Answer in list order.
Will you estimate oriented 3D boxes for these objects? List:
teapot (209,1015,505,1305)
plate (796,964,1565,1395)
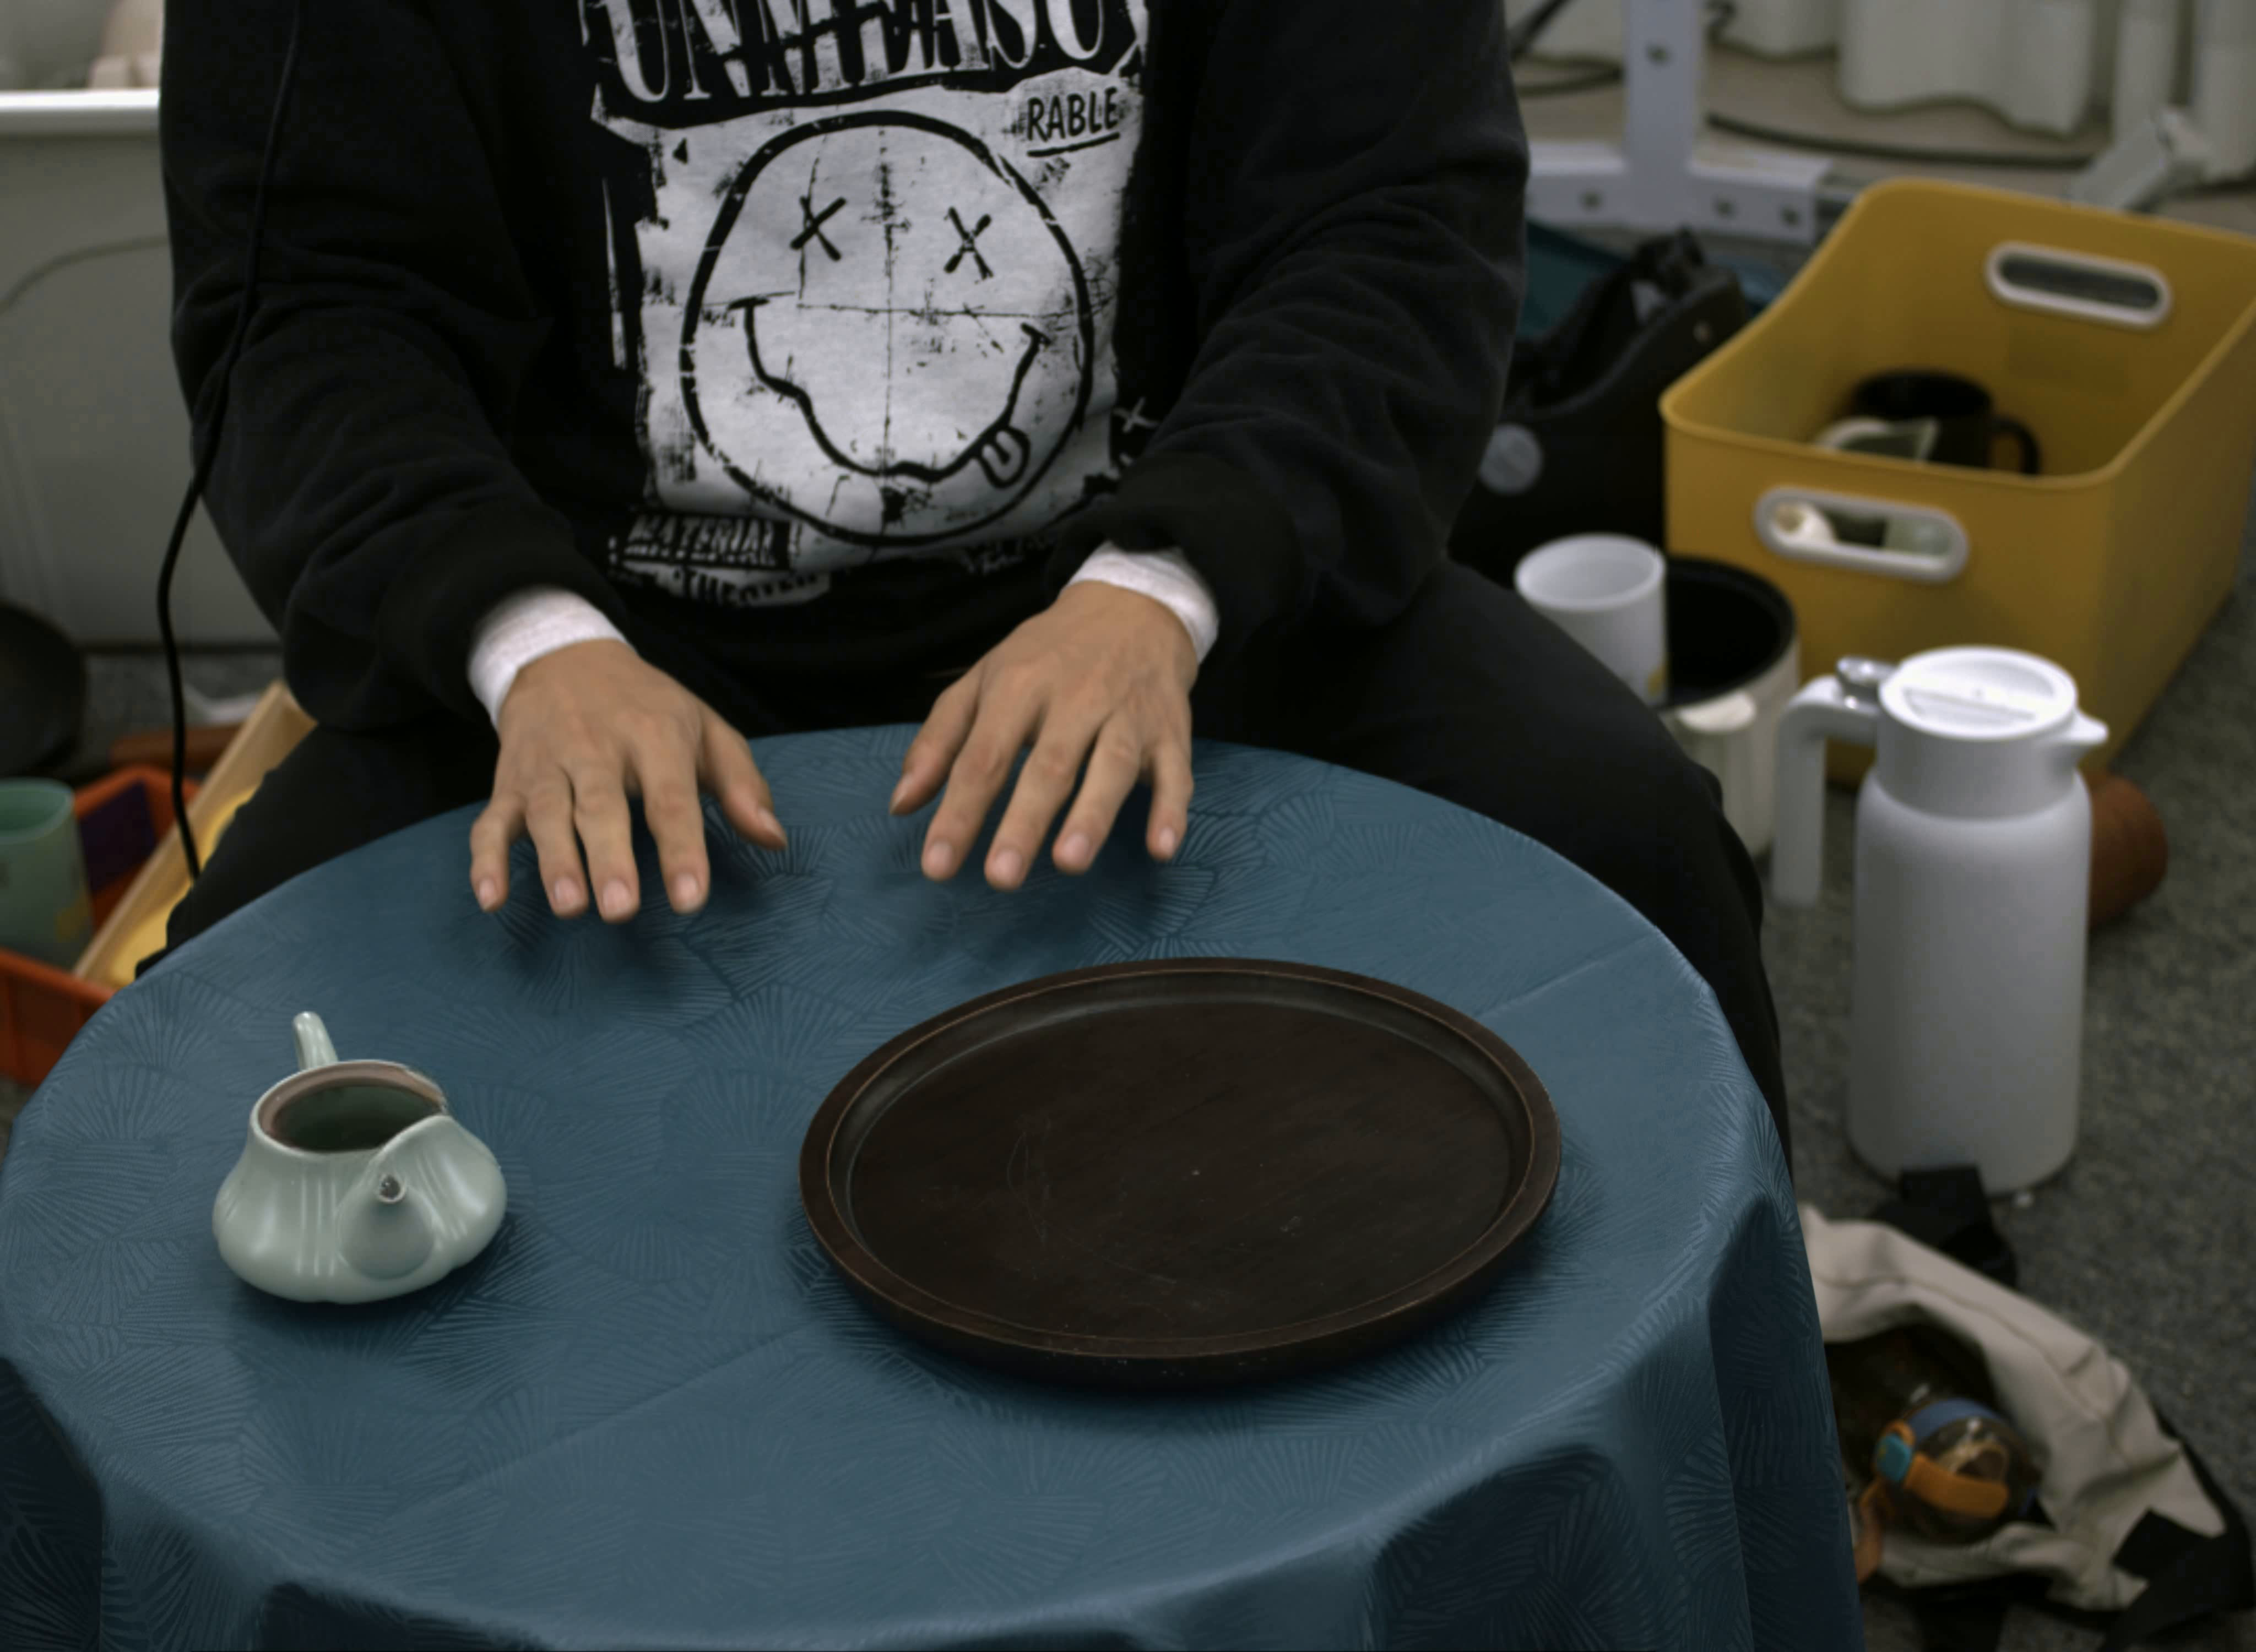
[{"bbox_3d":[-0.255,0.113,1.836,0.096,0.061,0.138,-15,29,-19],"label":"teapot"},{"bbox_3d":[0.017,0.114,1.846,0.253,0.029,0.259,-3,28,2],"label":"plate"}]
